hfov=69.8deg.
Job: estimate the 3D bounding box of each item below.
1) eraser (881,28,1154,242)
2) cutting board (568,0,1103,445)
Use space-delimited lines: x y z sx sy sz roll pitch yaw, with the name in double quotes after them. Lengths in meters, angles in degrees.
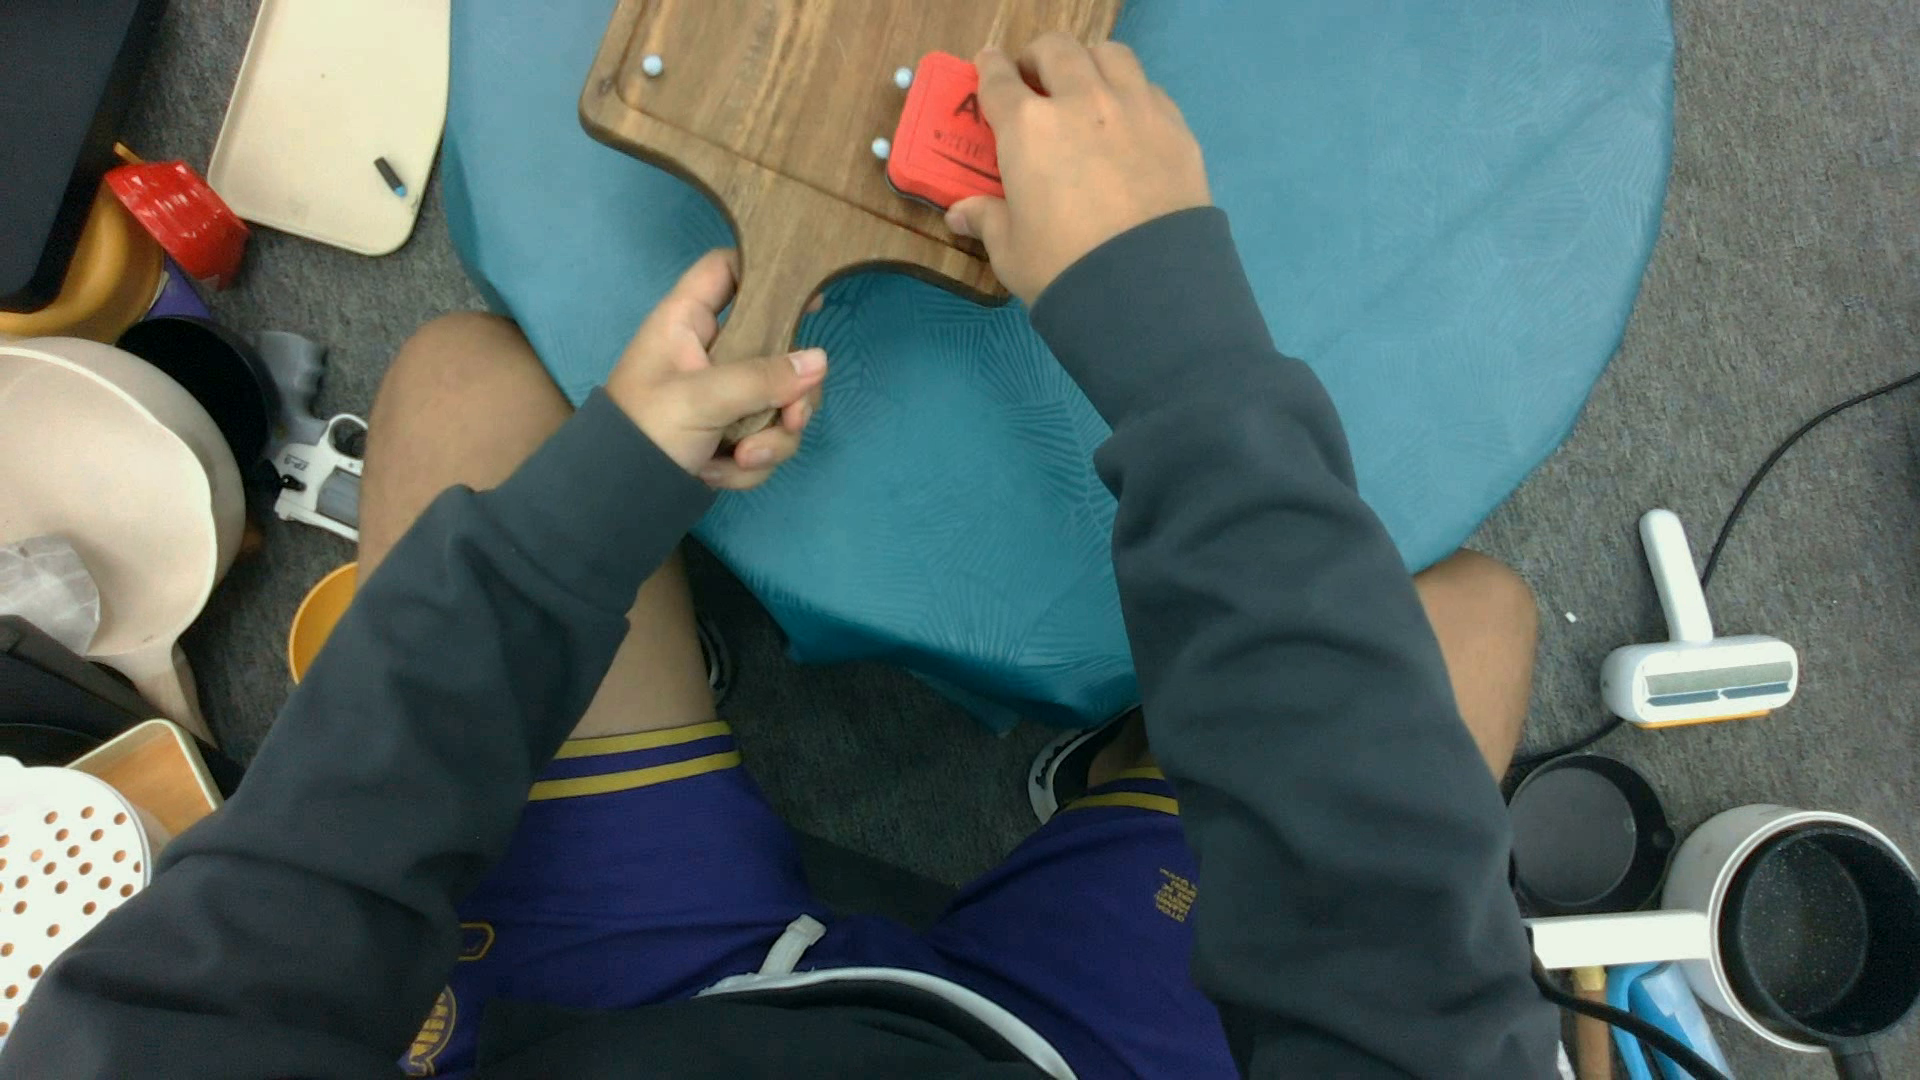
0.025 -0.170 0.582 0.108 0.023 0.059 18 82 -10 "eraser"
-0.049 -0.208 0.590 0.201 0.023 0.352 19 81 -12 "cutting board"
